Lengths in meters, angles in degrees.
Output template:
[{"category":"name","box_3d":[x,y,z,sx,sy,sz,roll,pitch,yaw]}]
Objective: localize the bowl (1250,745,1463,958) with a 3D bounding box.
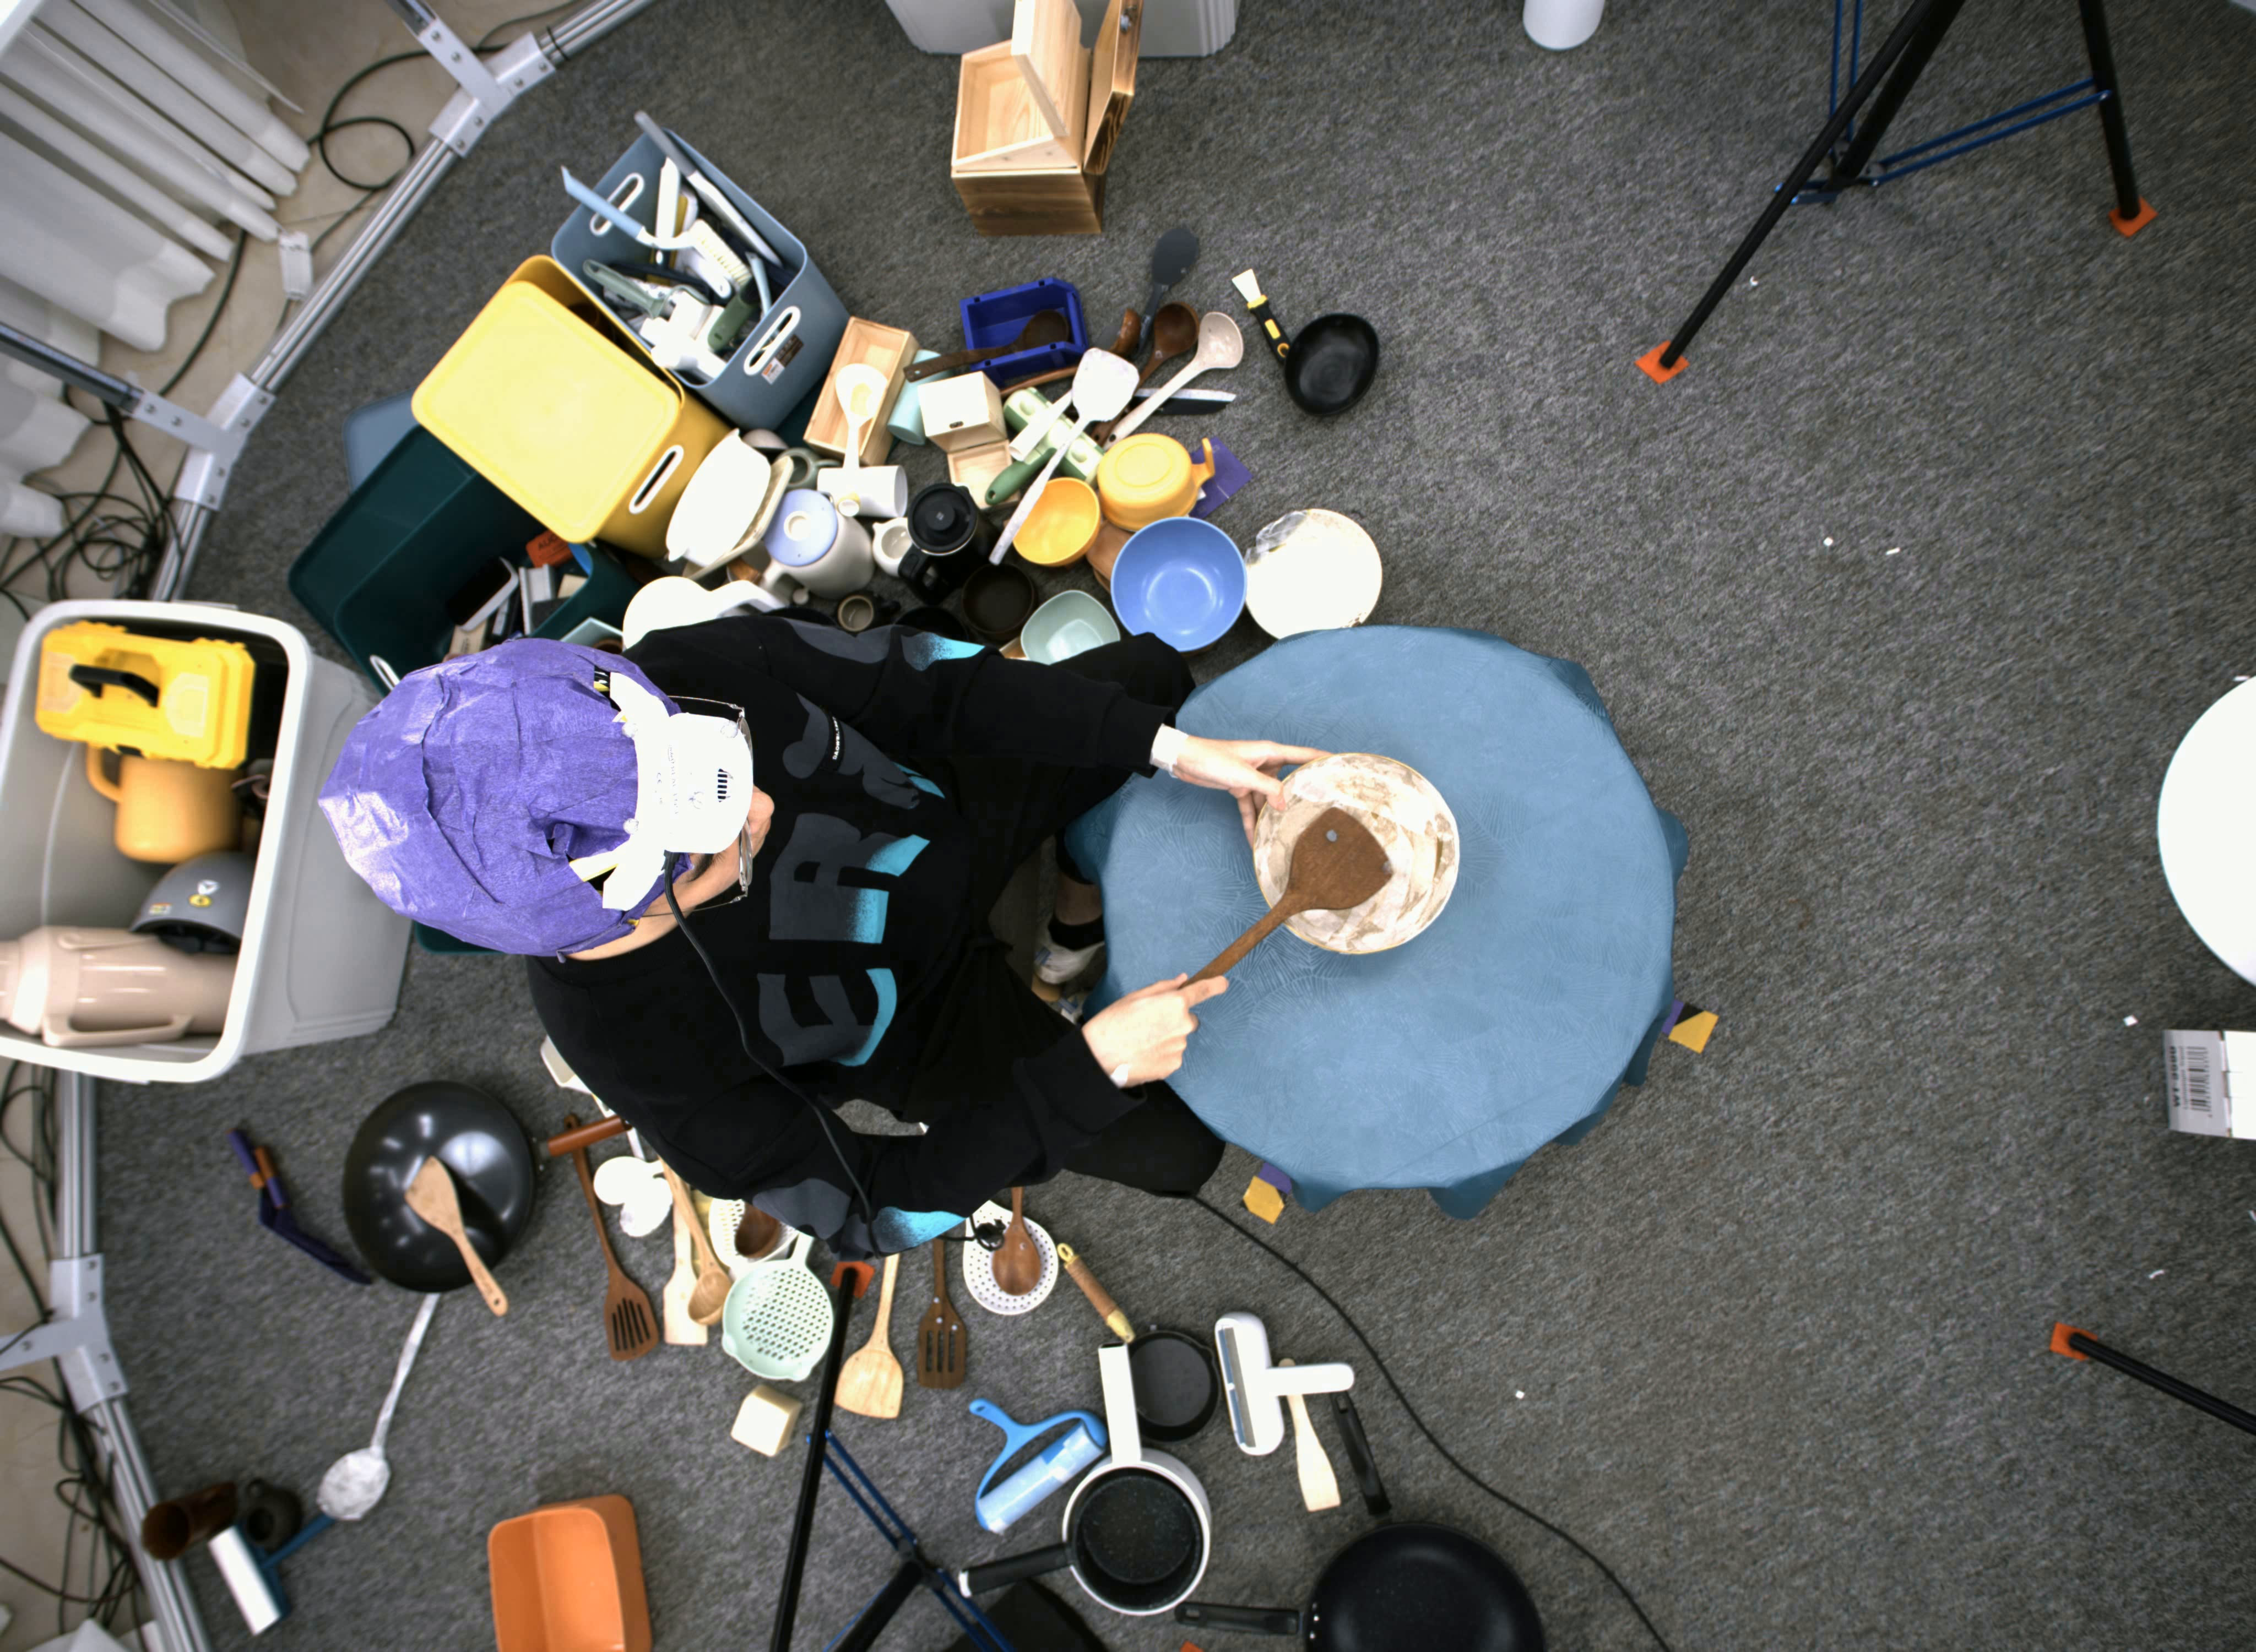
[{"category":"bowl","box_3d":[0.230,0.027,1.402,0.215,0.094,0.214,-1,88,9]}]

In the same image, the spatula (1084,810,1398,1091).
[{"category":"spatula","box_3d":[0.105,0.120,1.301,0.380,0.016,0.096,-38,85,-21]}]
